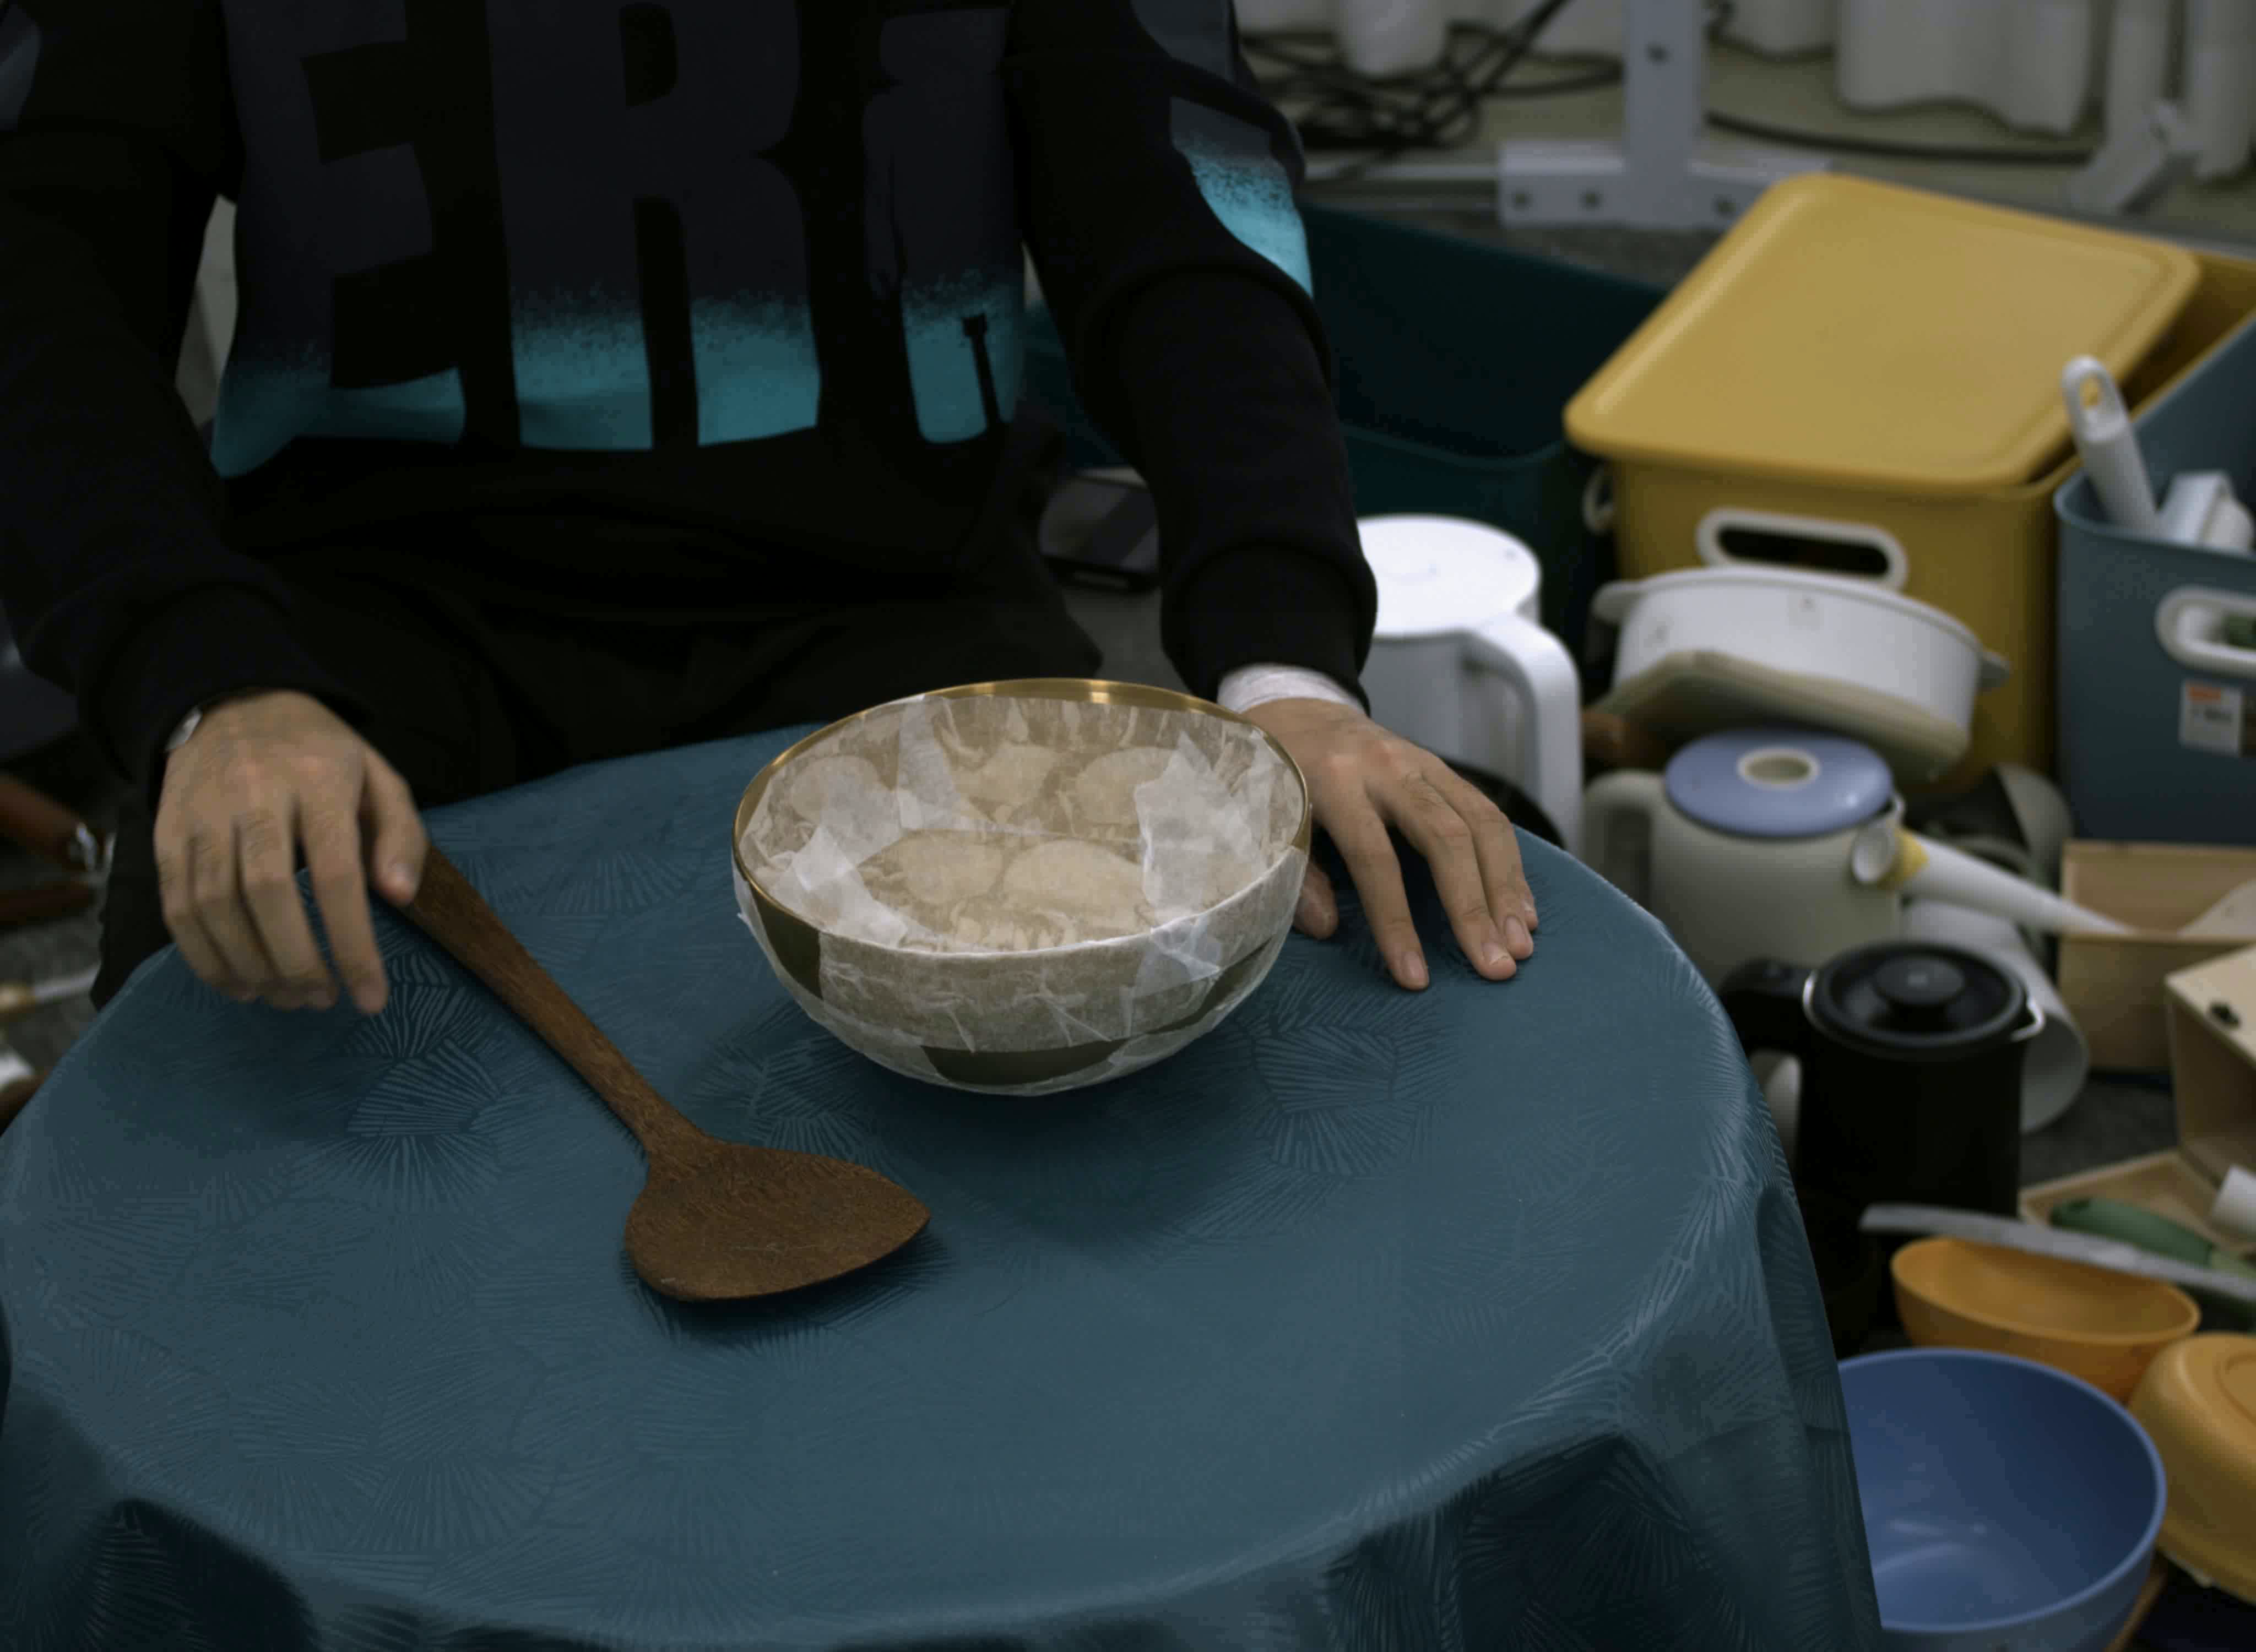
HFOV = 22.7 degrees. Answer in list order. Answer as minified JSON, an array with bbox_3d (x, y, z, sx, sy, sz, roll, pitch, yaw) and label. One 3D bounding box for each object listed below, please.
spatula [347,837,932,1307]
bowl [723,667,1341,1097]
[{"bbox_3d":[-0.190,0.077,1.952,0.096,0.015,0.387,-16,30,-25],"label":"spatula"},{"bbox_3d":[-0.031,0.031,1.937,0.213,0.093,0.218,-4,27,2],"label":"bowl"}]
